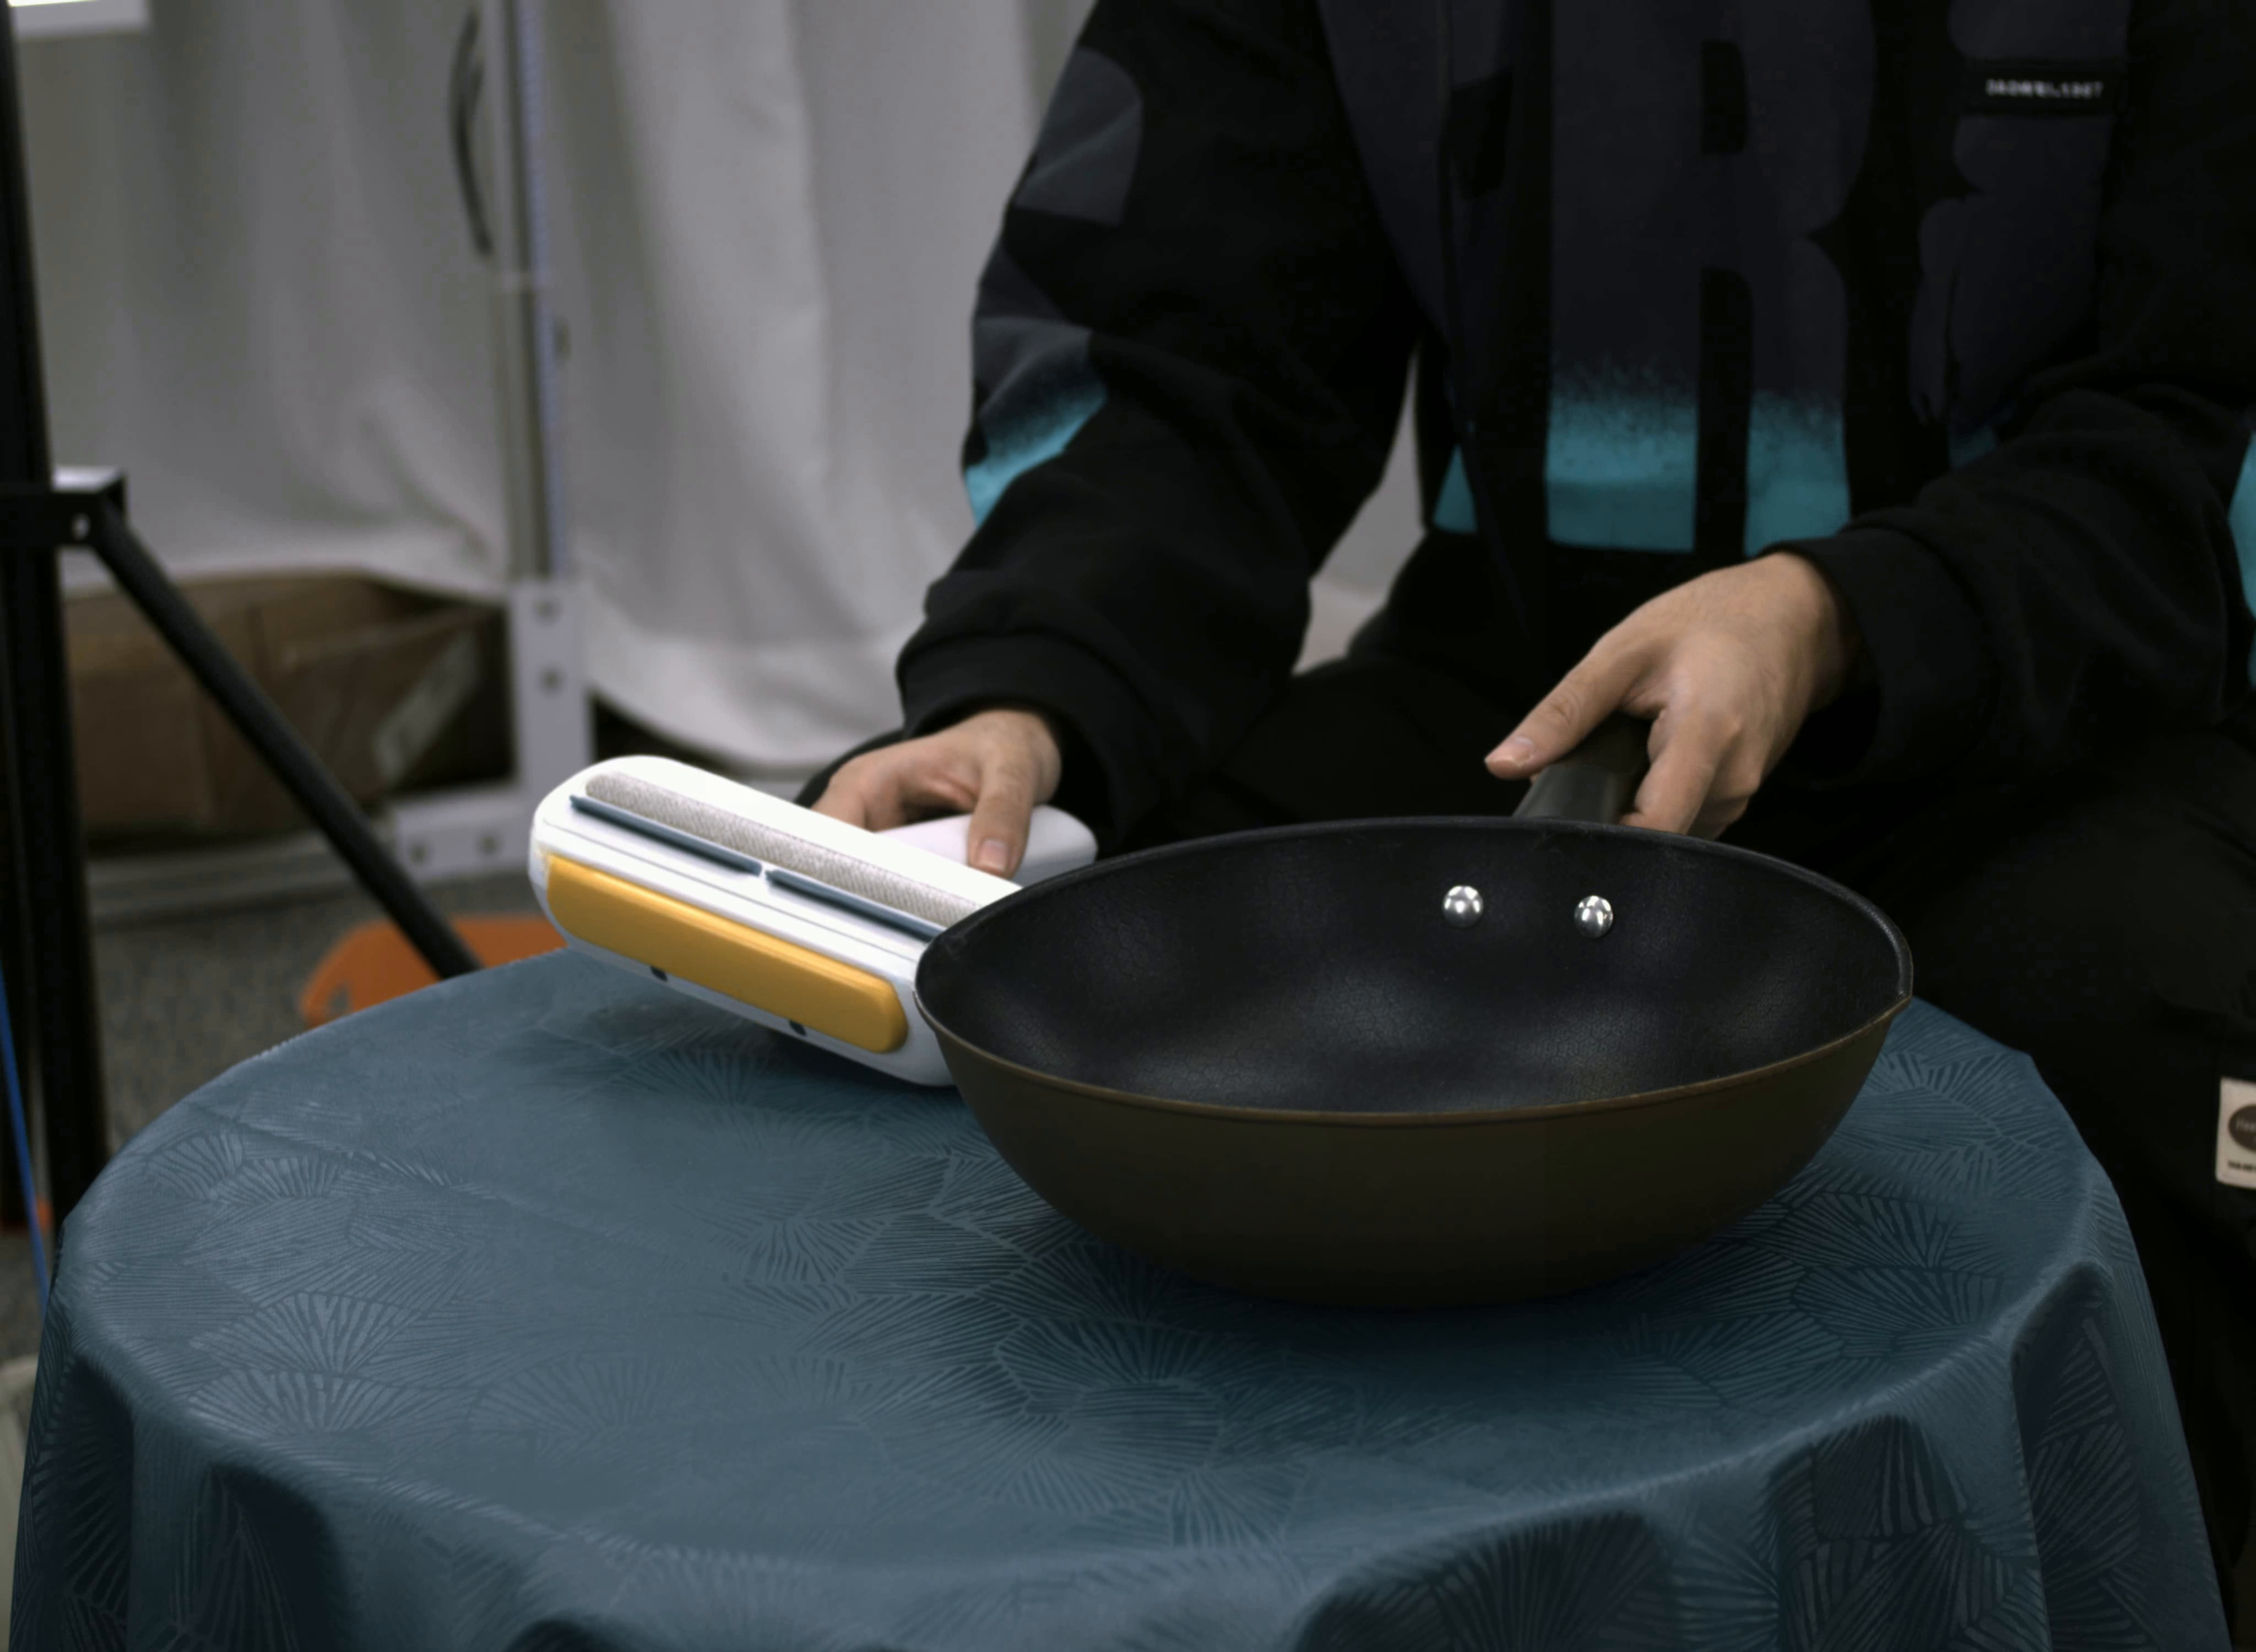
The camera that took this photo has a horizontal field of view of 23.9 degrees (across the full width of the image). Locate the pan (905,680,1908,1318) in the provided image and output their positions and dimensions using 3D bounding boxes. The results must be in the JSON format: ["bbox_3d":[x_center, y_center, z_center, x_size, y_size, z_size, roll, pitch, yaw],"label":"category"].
[{"bbox_3d":[0.109,0.050,1.591,0.291,0.087,0.458,3,17,20],"label":"pan"}]

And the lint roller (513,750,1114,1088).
[{"bbox_3d":[-0.076,0.016,1.745,0.197,0.074,0.188,17,30,38],"label":"lint roller"}]
